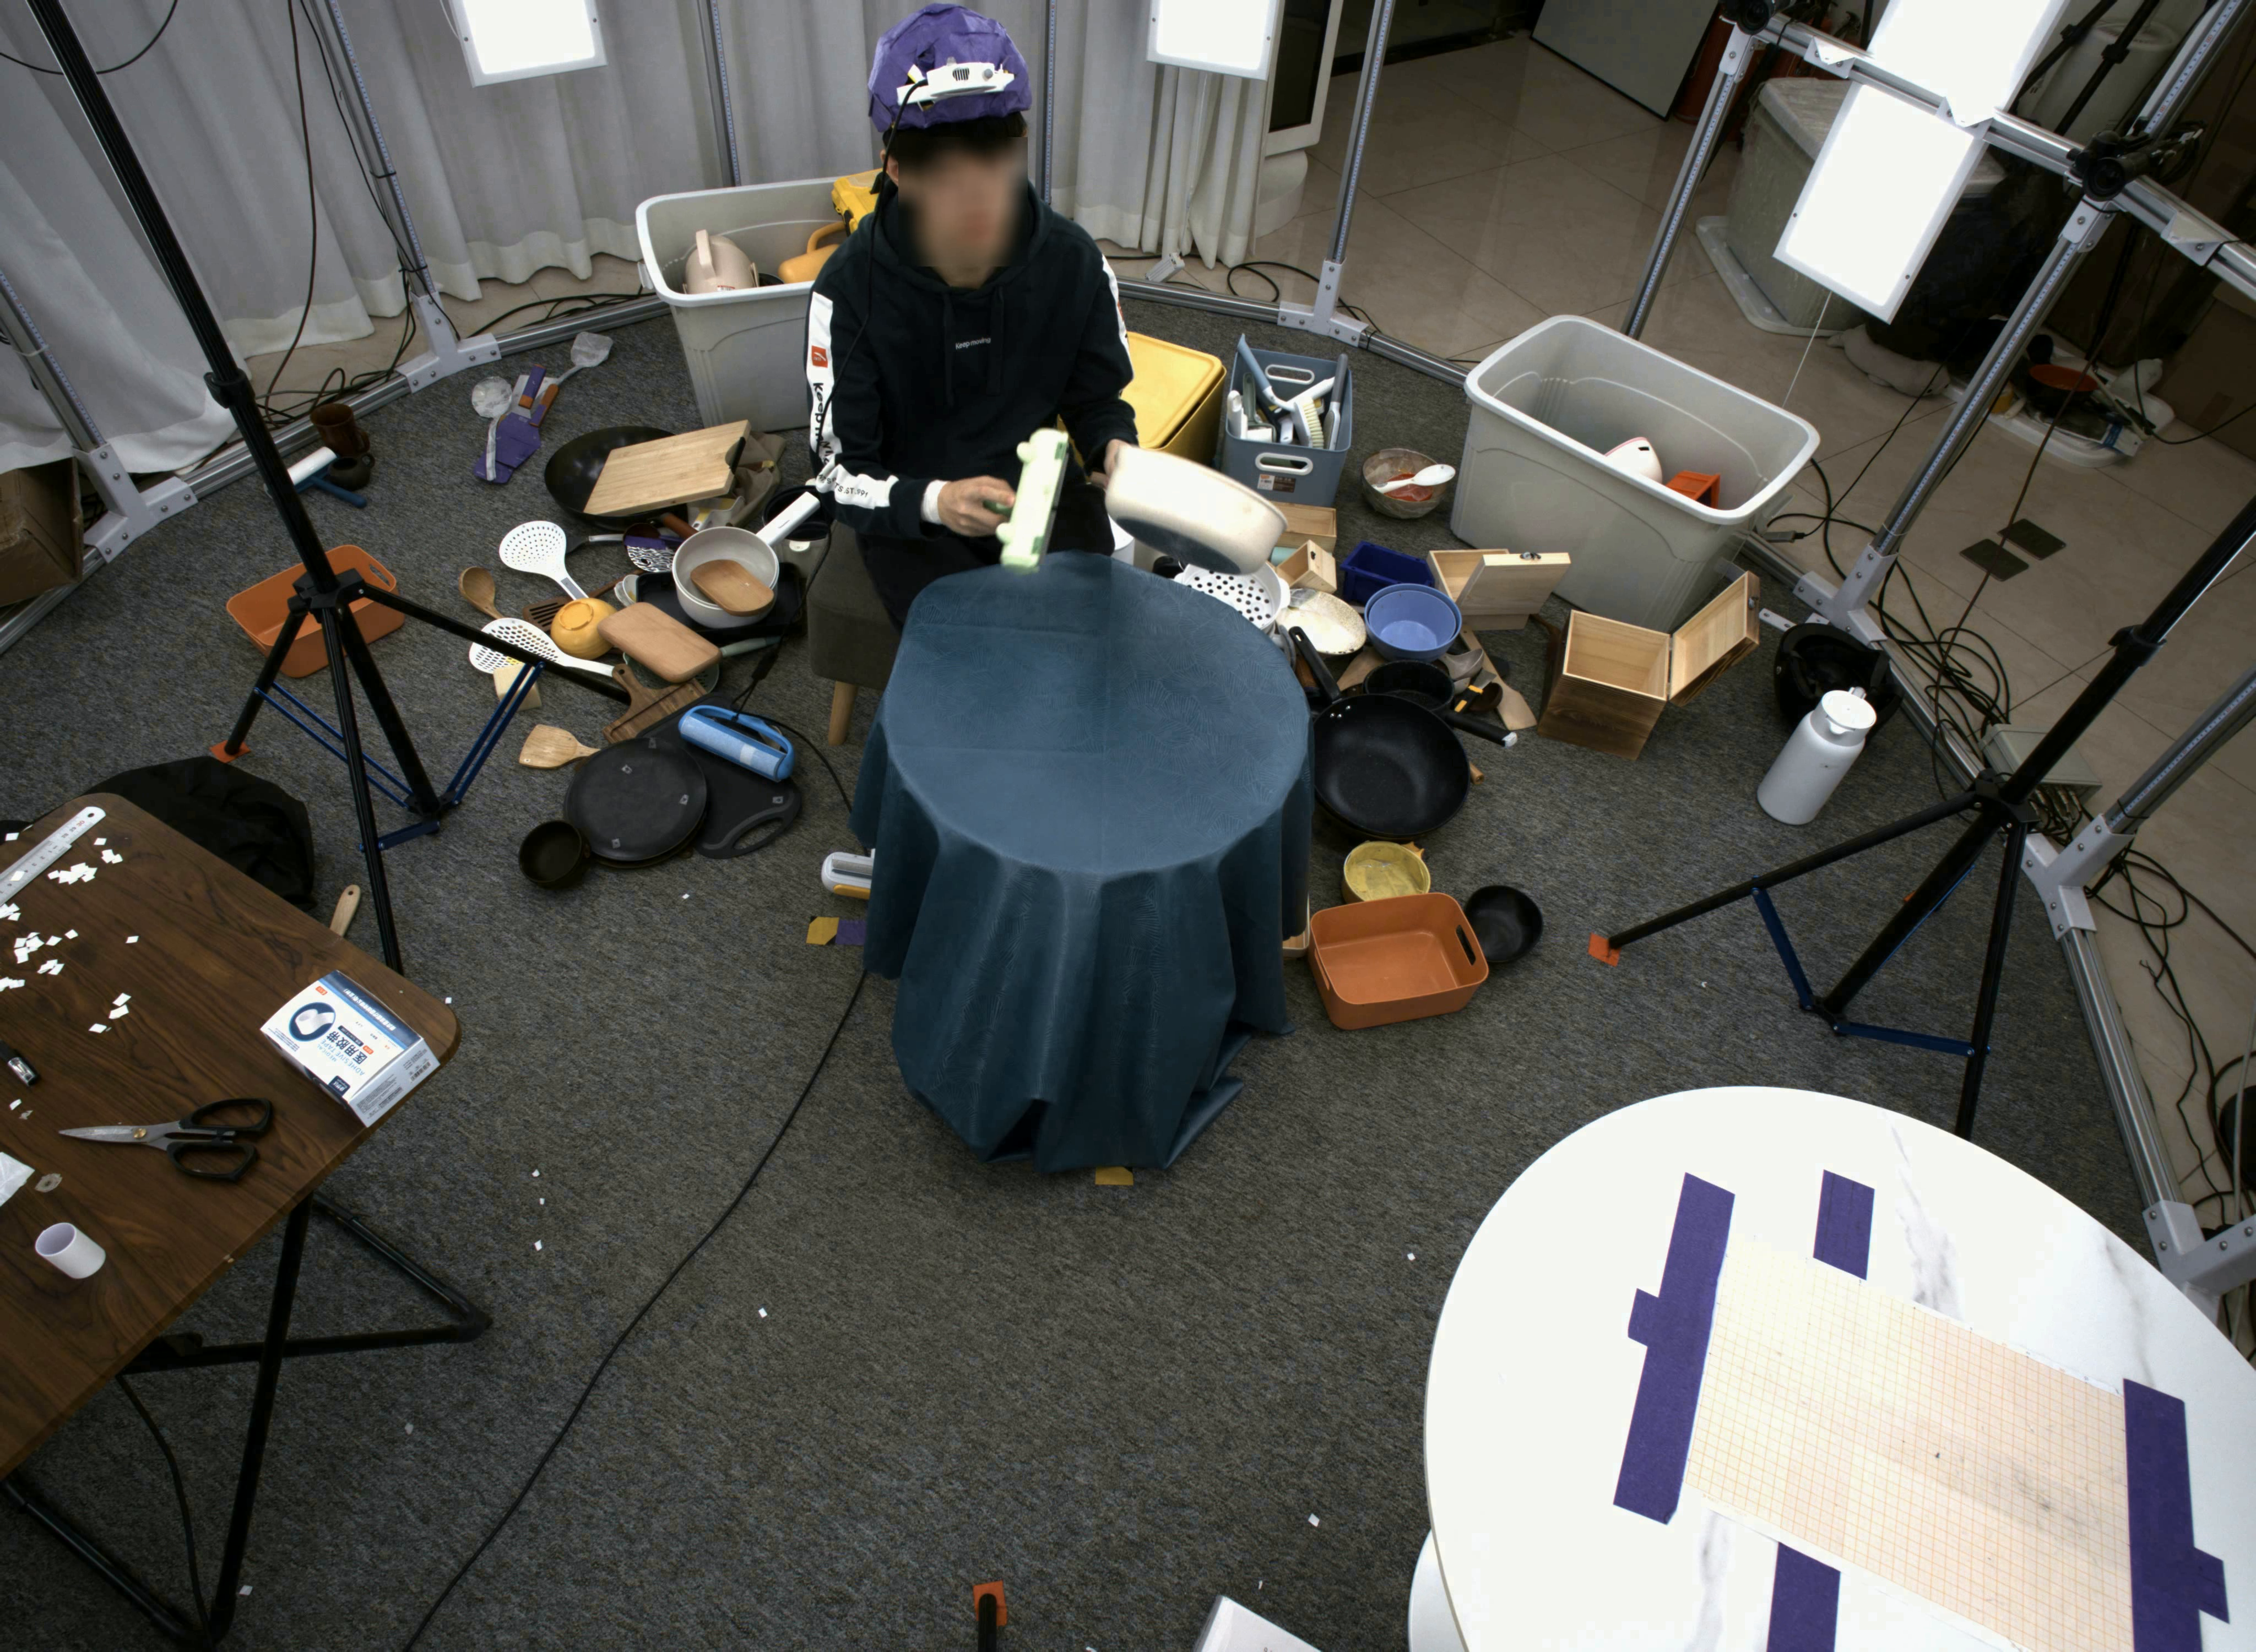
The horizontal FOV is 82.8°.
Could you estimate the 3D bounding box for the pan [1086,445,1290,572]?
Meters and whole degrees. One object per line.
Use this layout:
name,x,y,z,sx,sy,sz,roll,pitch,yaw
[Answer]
pan,0.042,-0.443,1.806,0.260,0.102,0.440,20,2,-33

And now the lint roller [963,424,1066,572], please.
lint roller,-0.173,-0.450,1.774,0.184,0.081,0.200,6,80,34
